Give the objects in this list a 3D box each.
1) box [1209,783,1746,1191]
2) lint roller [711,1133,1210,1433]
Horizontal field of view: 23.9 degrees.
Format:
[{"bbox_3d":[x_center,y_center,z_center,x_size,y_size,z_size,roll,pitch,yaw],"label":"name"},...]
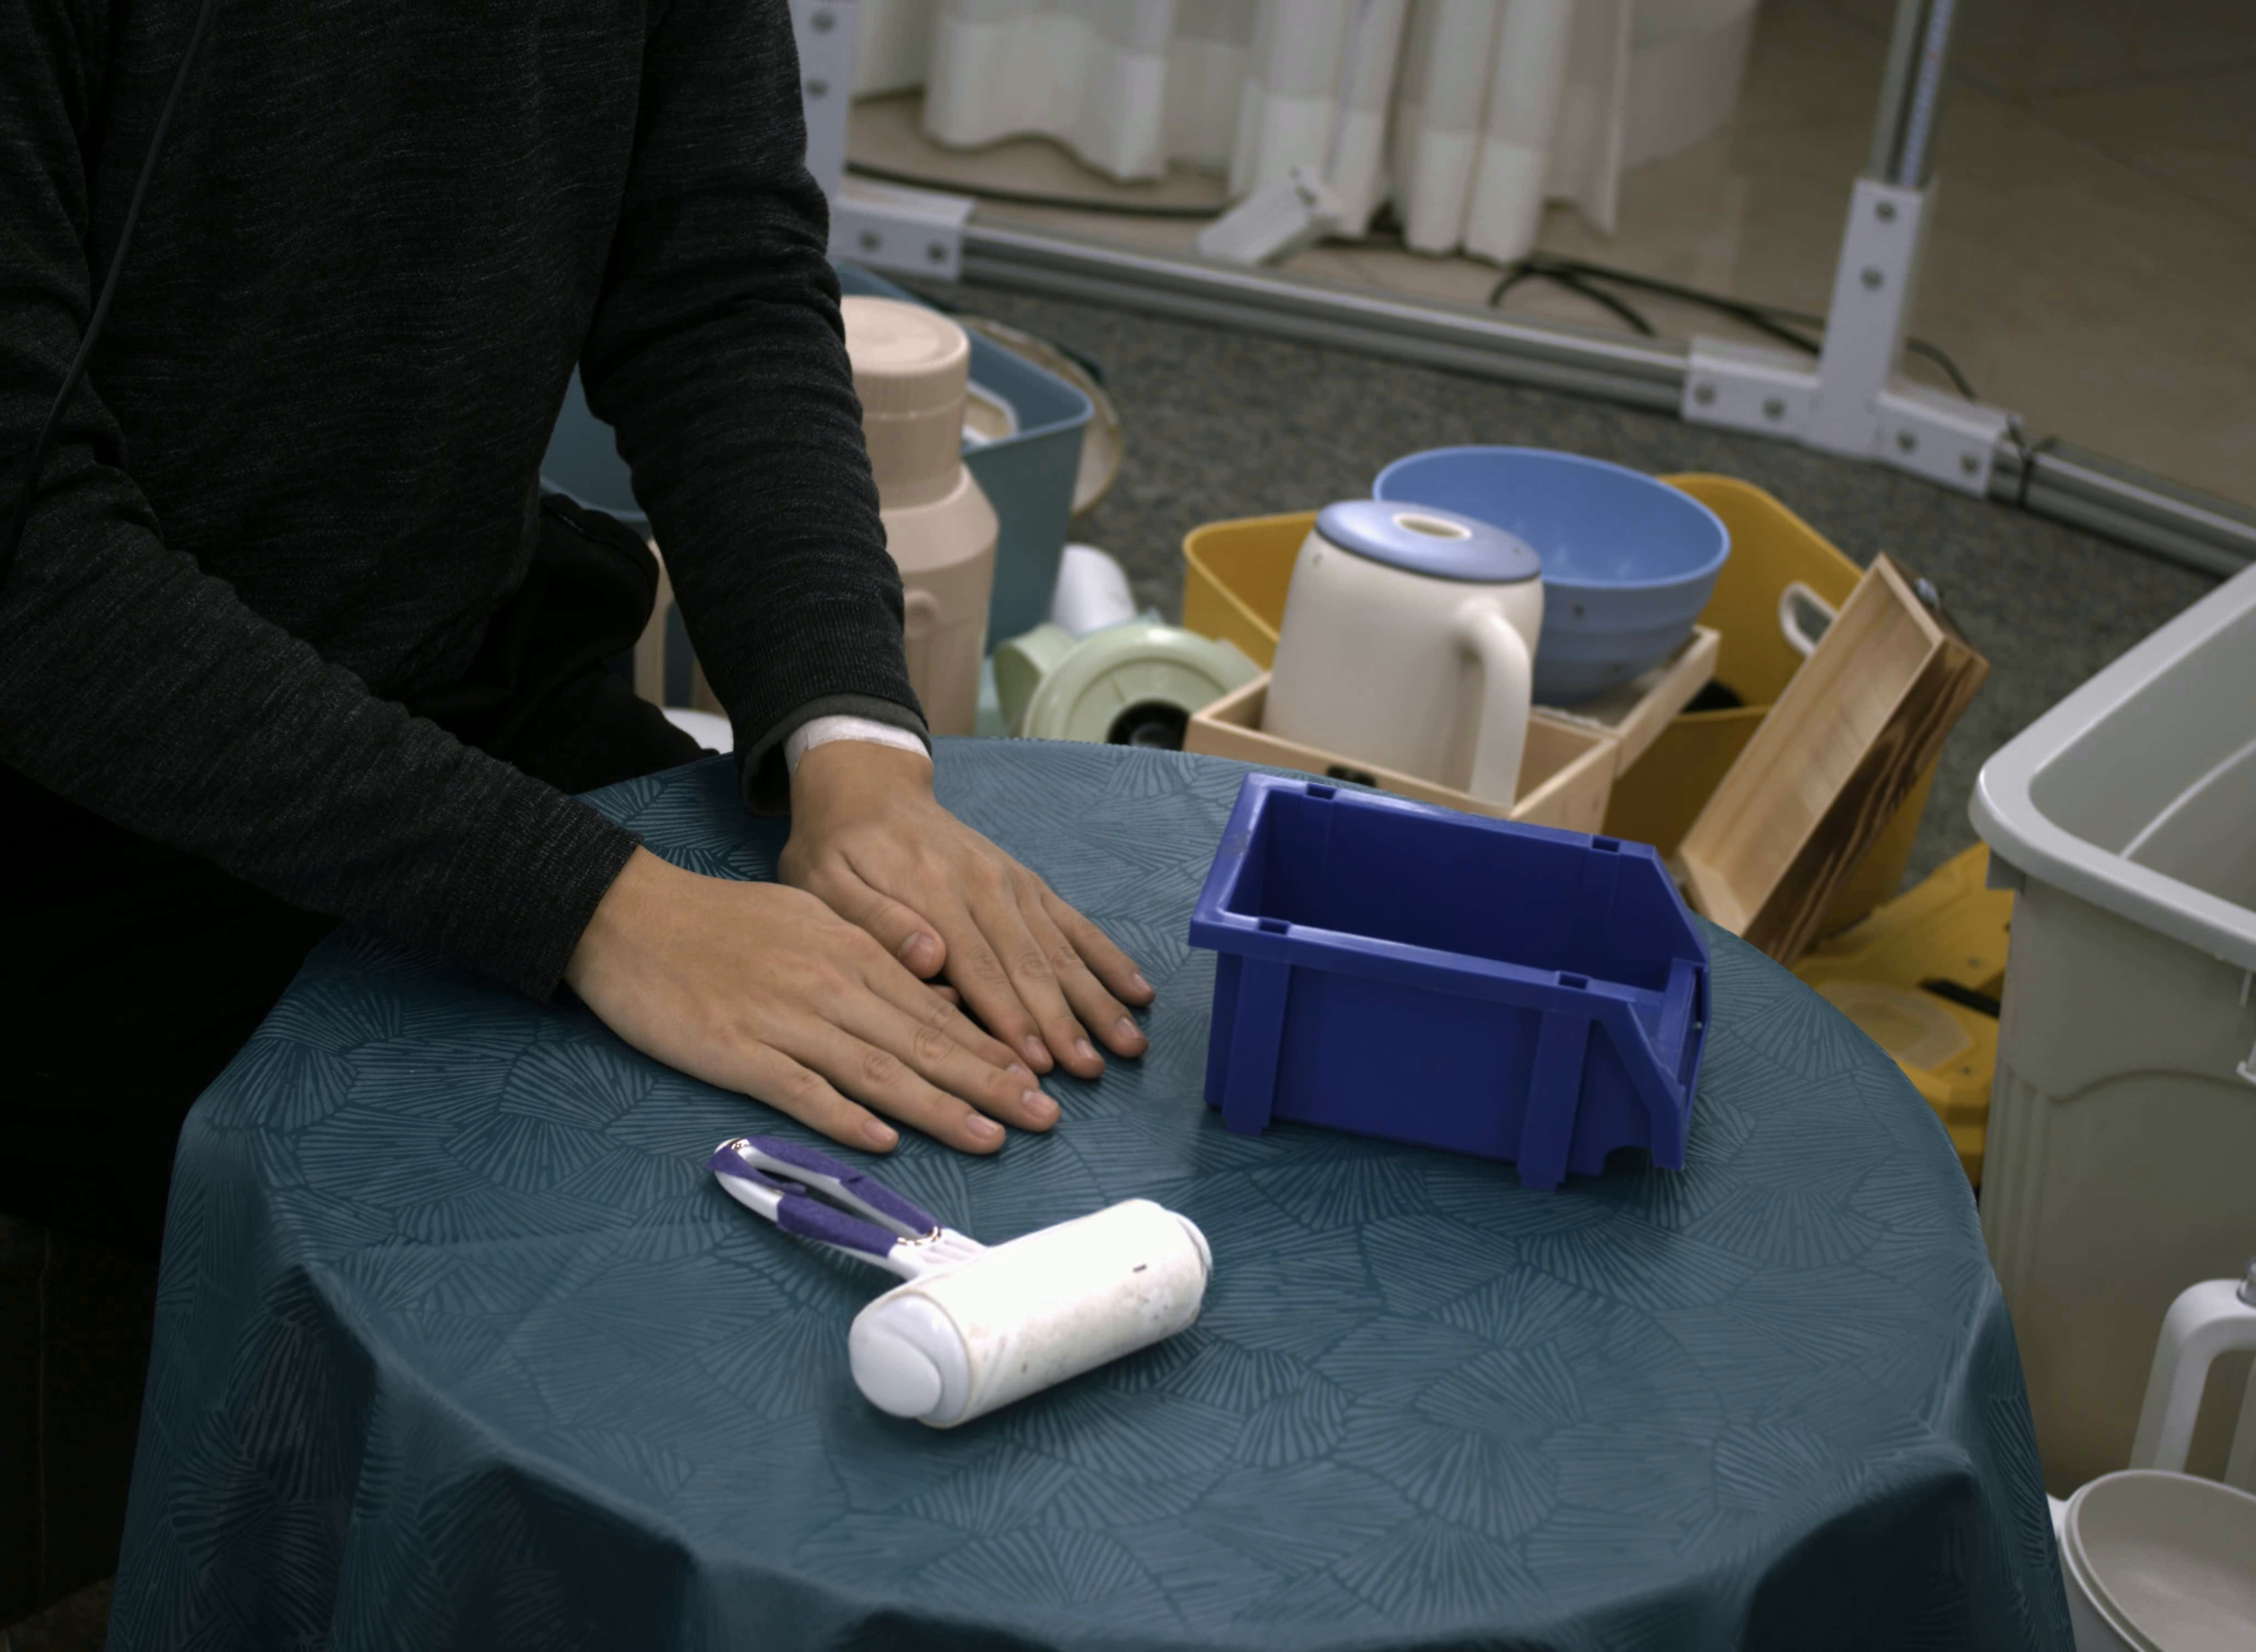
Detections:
[{"bbox_3d":[0.125,0.057,1.871,0.179,0.081,0.125,8,26,10],"label":"box"},{"bbox_3d":[-0.071,0.128,1.727,0.132,0.050,0.182,-18,37,-38],"label":"lint roller"}]
